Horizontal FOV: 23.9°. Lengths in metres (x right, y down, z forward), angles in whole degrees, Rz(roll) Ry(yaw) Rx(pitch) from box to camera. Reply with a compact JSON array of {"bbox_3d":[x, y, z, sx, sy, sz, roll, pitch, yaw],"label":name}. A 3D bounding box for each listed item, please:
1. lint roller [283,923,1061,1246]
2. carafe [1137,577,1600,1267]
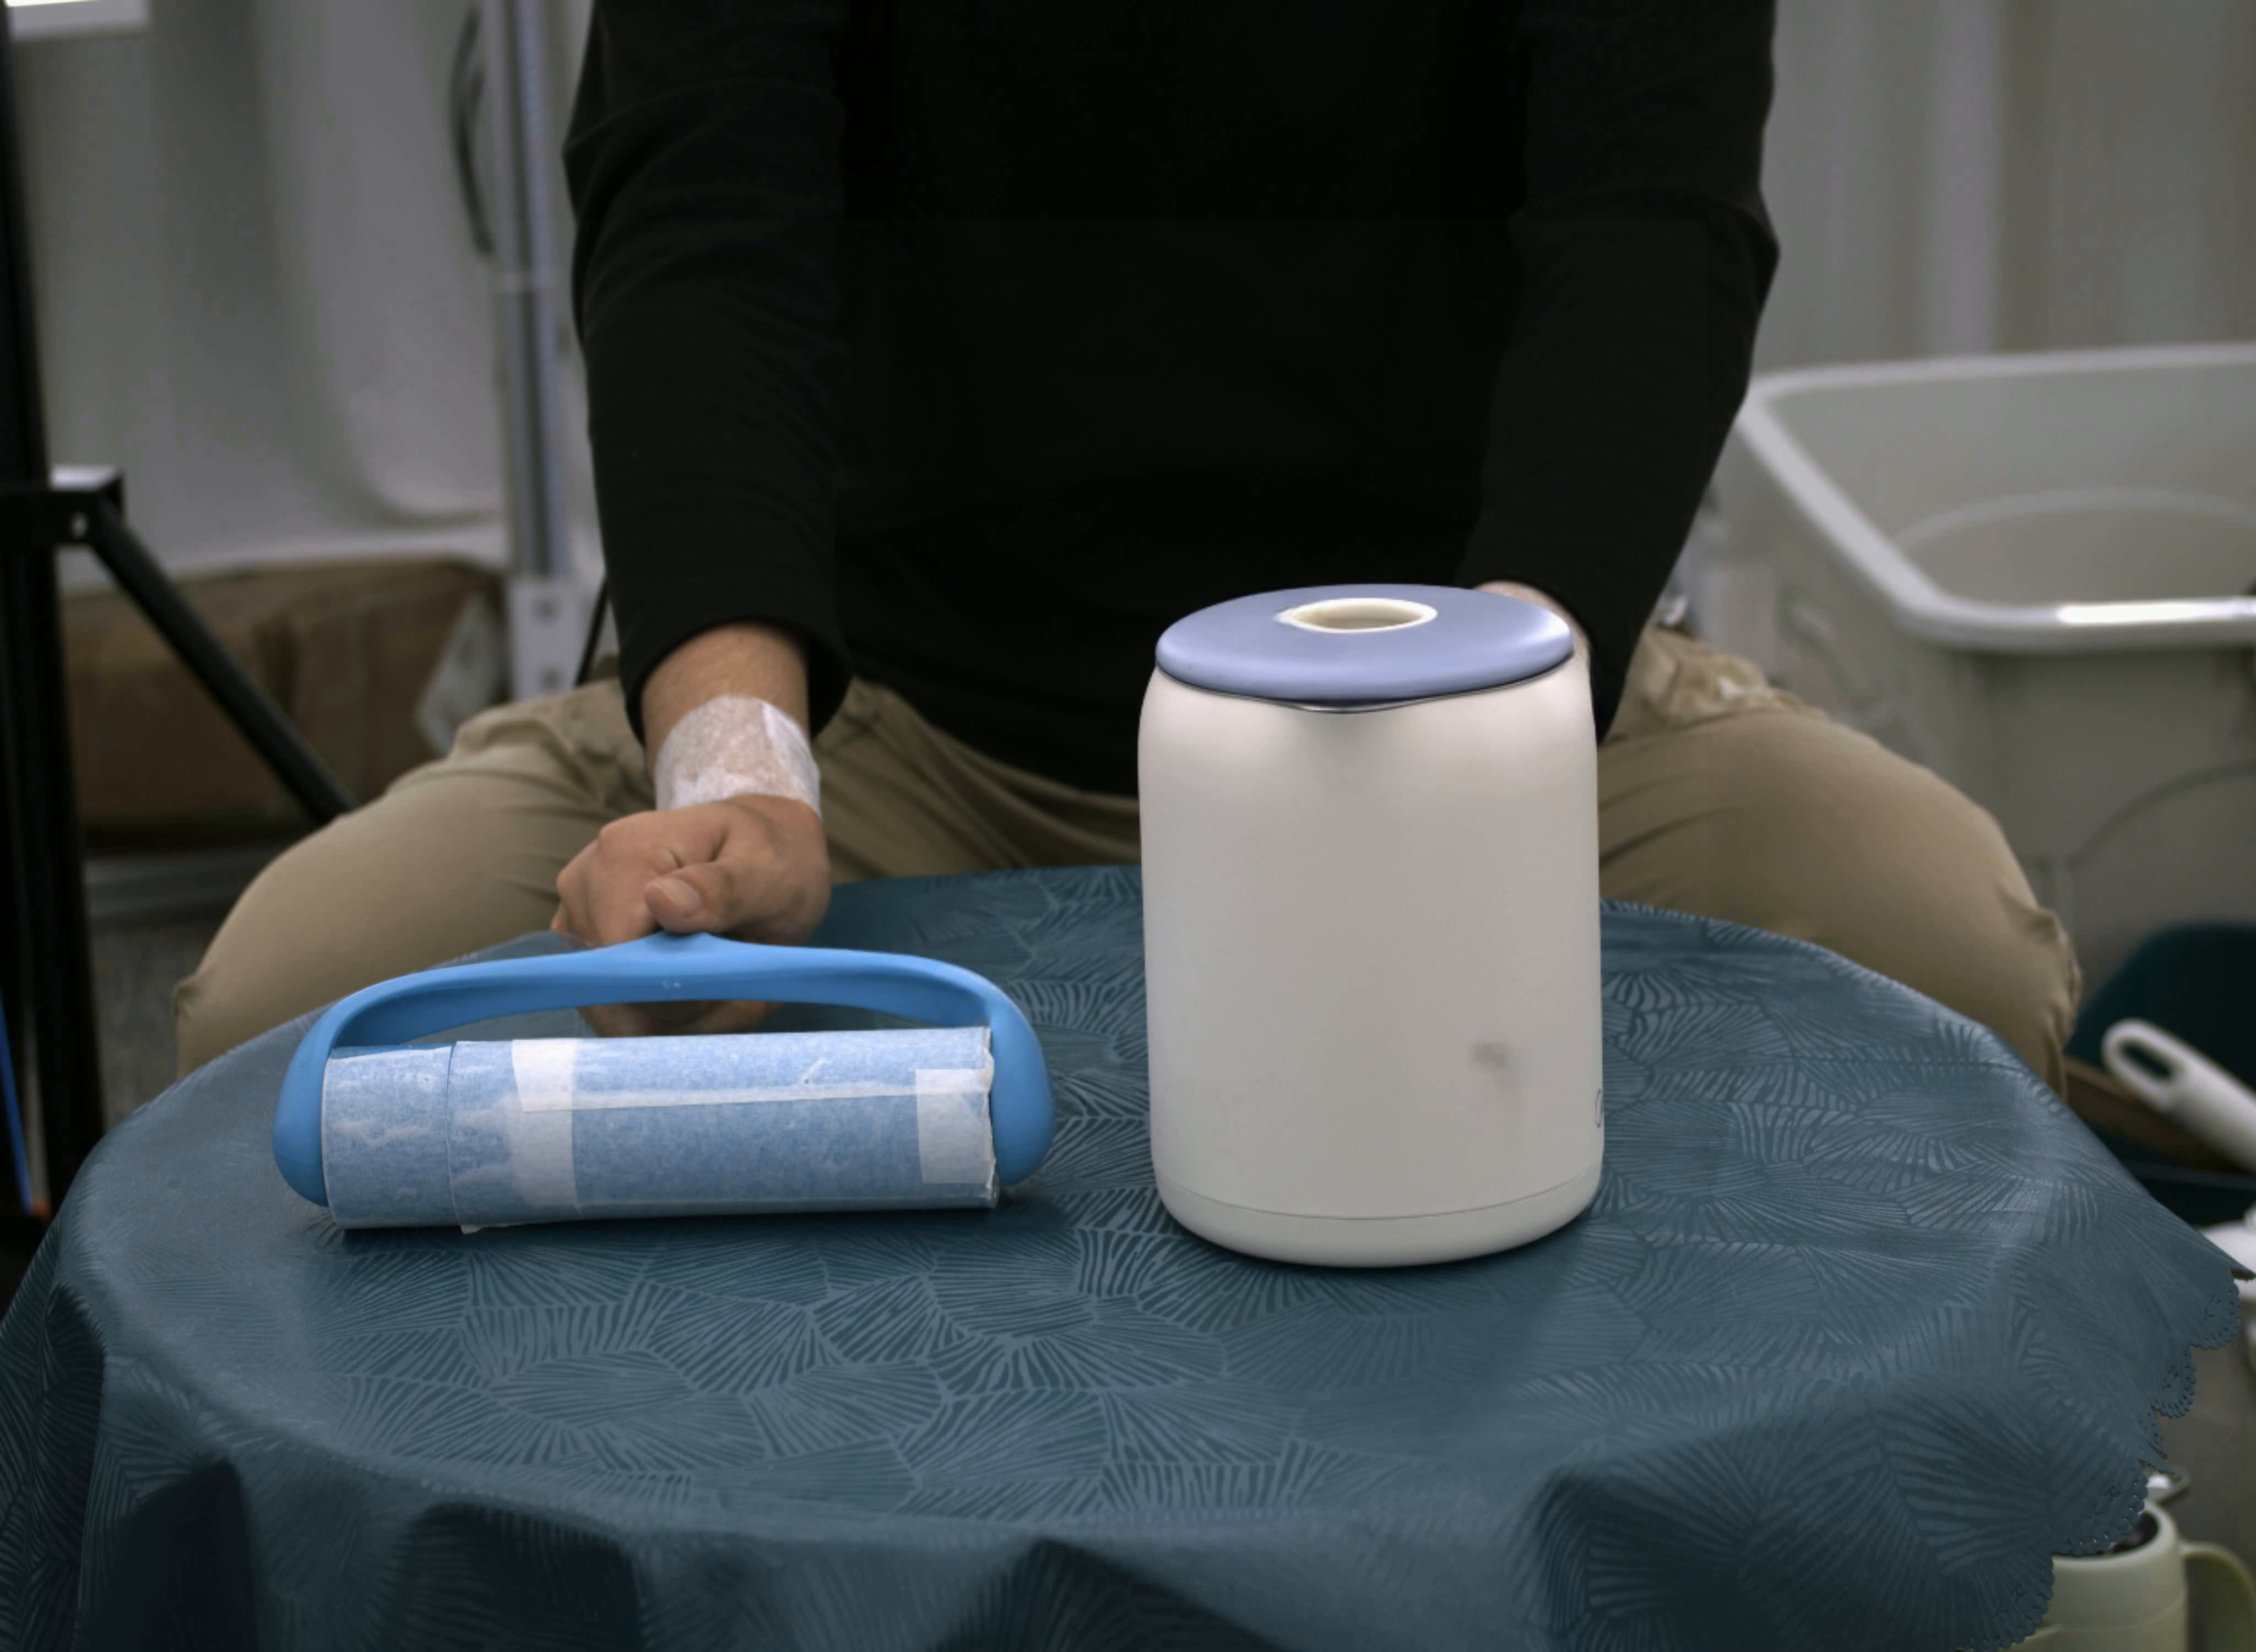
[{"bbox_3d":[-0.135,0.063,1.608,0.228,0.067,0.181,-5,27,2],"label":"lint roller"},{"bbox_3d":[0.071,0.021,1.538,0.132,0.183,0.191,0,12,6],"label":"carafe"}]
